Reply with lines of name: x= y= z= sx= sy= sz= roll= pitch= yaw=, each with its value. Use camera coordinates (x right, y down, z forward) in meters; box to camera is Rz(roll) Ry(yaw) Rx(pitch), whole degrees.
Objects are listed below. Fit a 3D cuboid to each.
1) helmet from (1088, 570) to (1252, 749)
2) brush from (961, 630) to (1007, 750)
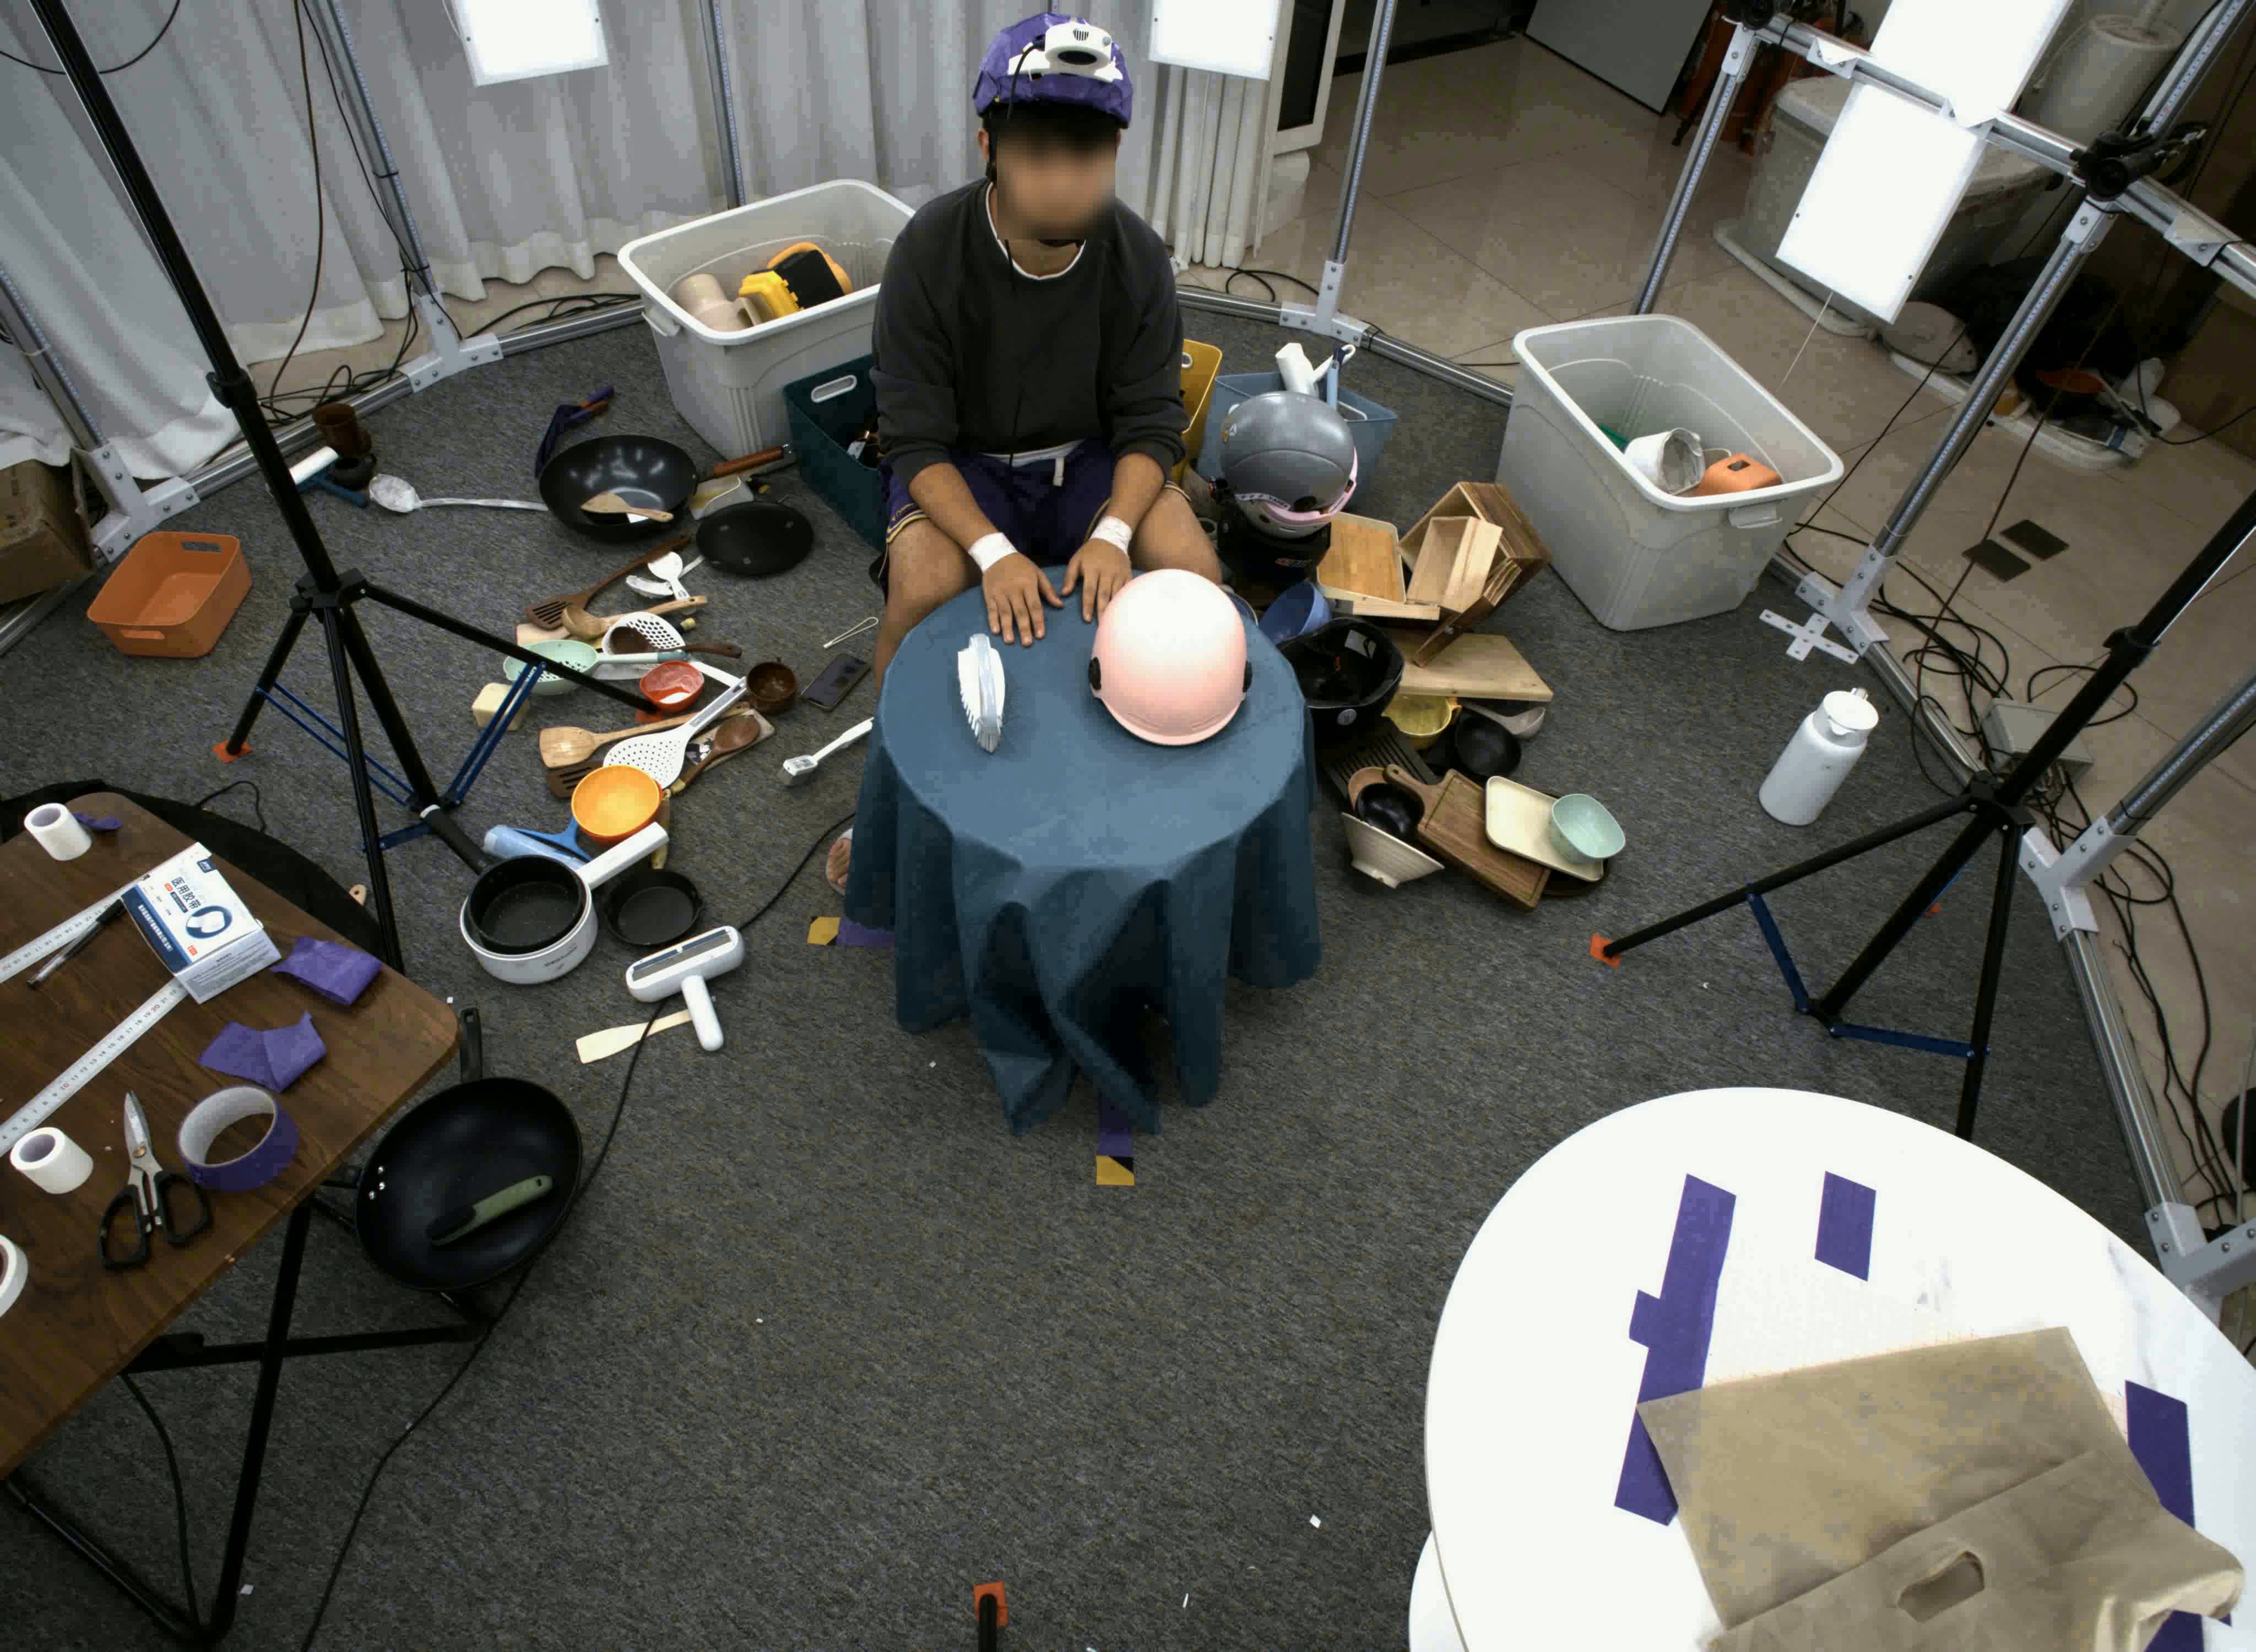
helmet: x=0.062 y=-0.254 z=1.794 sx=0.234 sy=0.155 sz=0.272 roll=0 pitch=53 yaw=-4
brush: x=-0.195 y=-0.196 z=1.764 sx=0.061 sy=0.092 sz=0.180 roll=-6 pitch=51 yaw=-7
